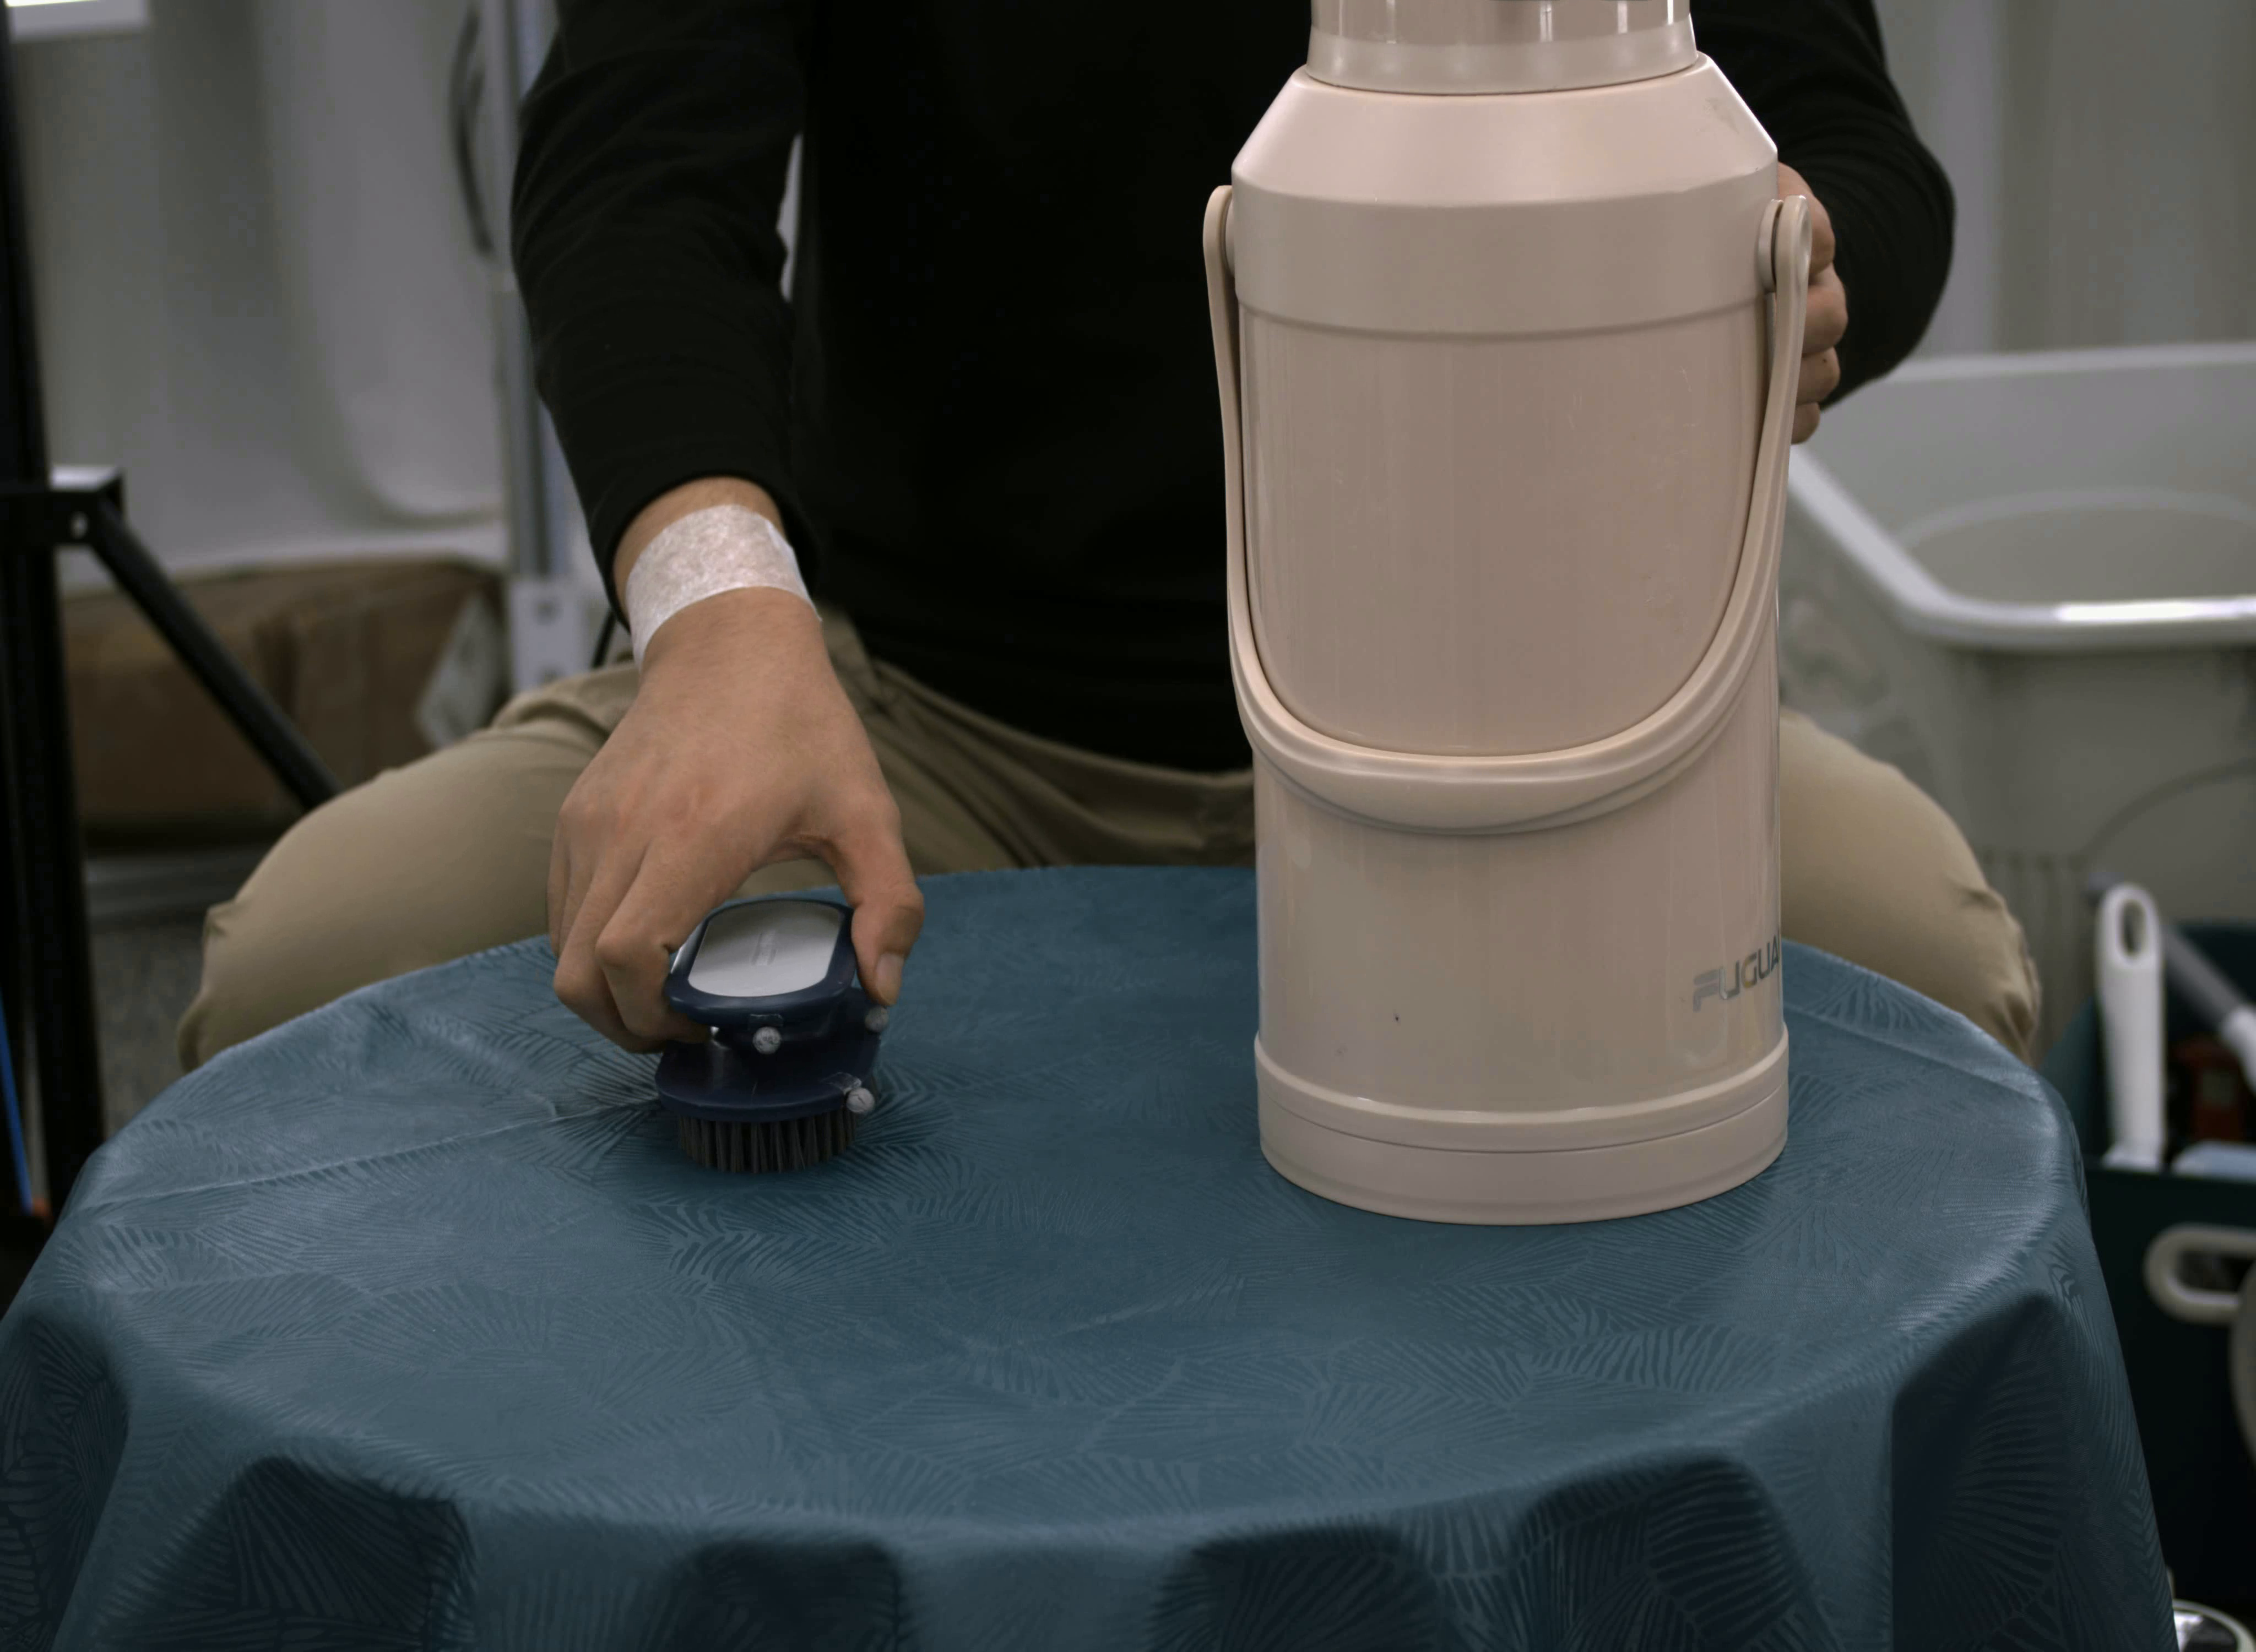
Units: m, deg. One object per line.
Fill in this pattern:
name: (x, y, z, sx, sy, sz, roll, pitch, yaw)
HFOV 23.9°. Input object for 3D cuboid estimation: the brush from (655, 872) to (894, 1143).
brush: (-0.108, 0.057, 1.633, 0.068, 0.061, 0.121, -2, 15, 9)

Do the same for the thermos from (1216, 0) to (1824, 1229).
thermos: (0.120, -0.101, 1.550, 0.177, 0.406, 0.205, 2, 16, 20)
